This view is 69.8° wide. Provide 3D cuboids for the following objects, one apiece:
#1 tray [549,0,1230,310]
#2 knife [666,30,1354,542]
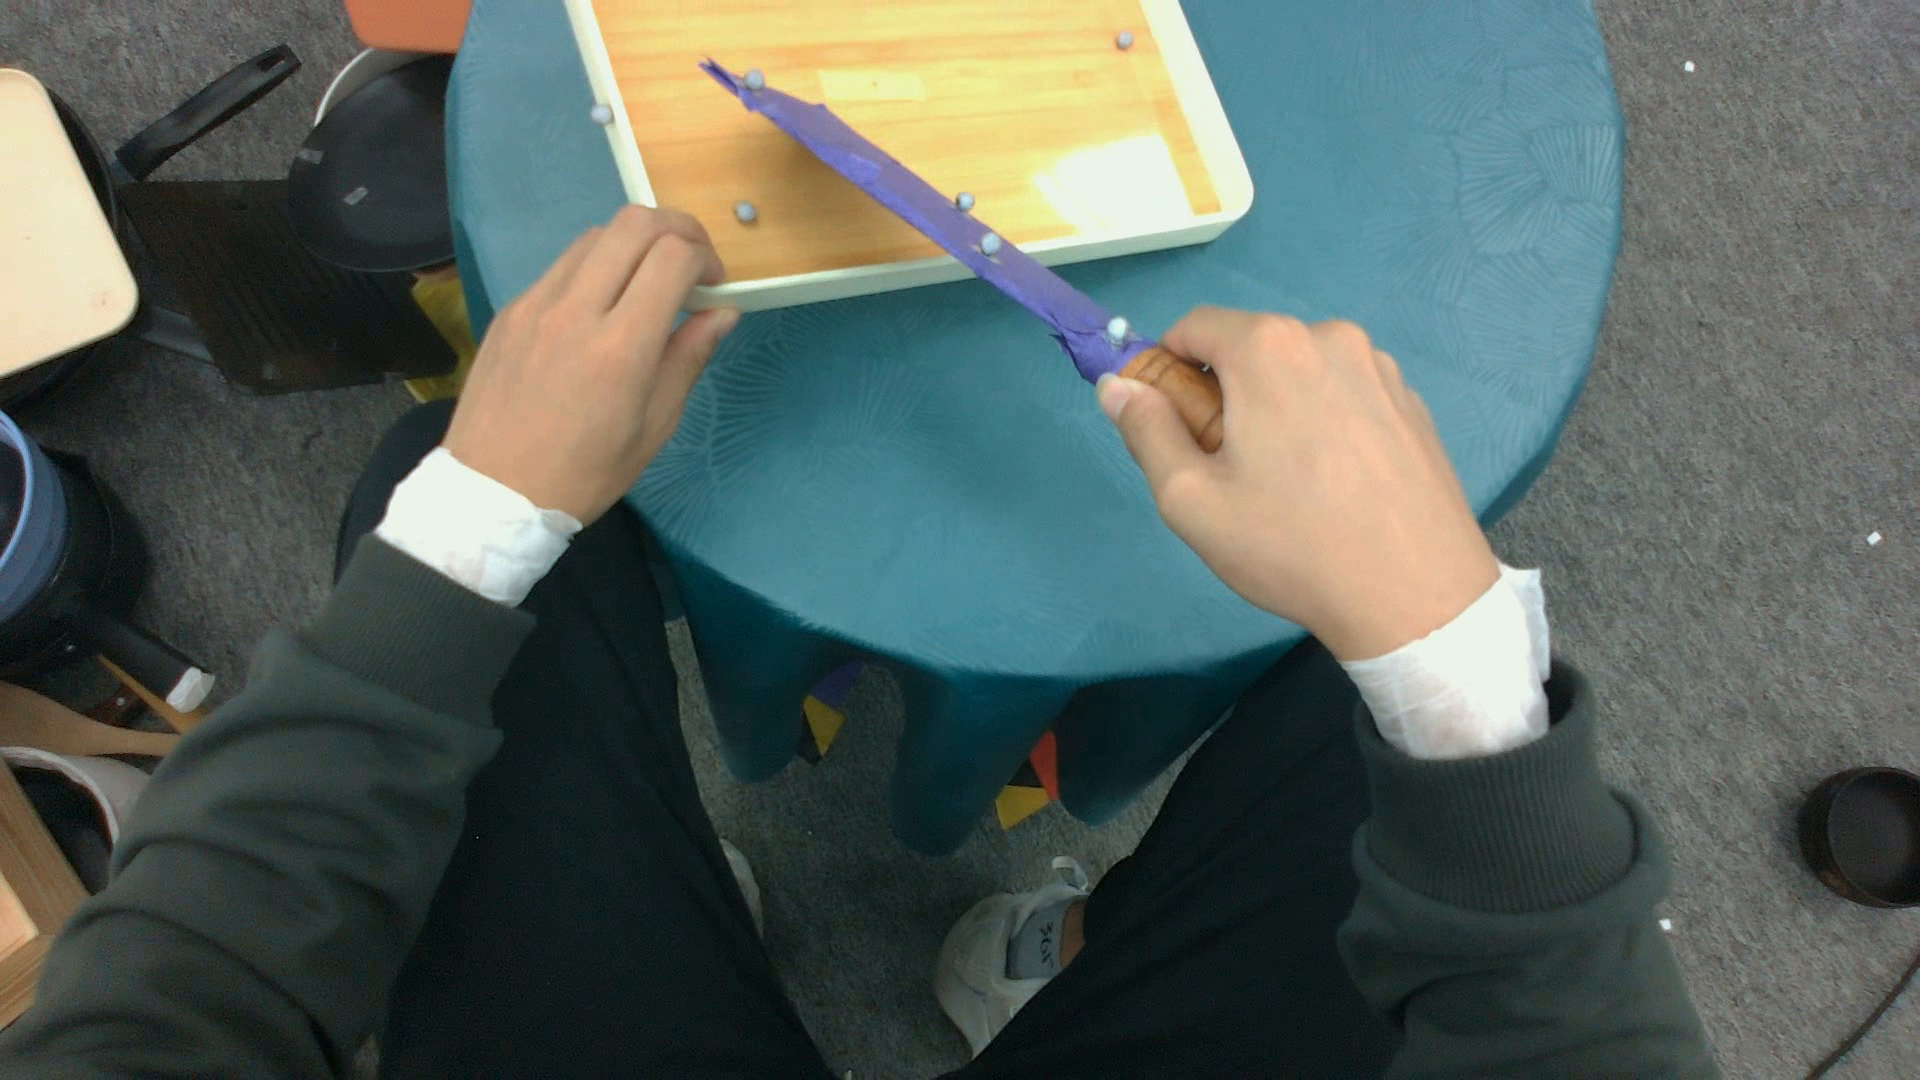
[{"bbox_3d":[-0.025,-0.215,0.639,0.301,0.027,0.192,-15,78,-28],"label":"tray"},{"bbox_3d":[0.022,-0.108,0.527,0.315,0.104,0.032,41,112,18],"label":"knife"}]
